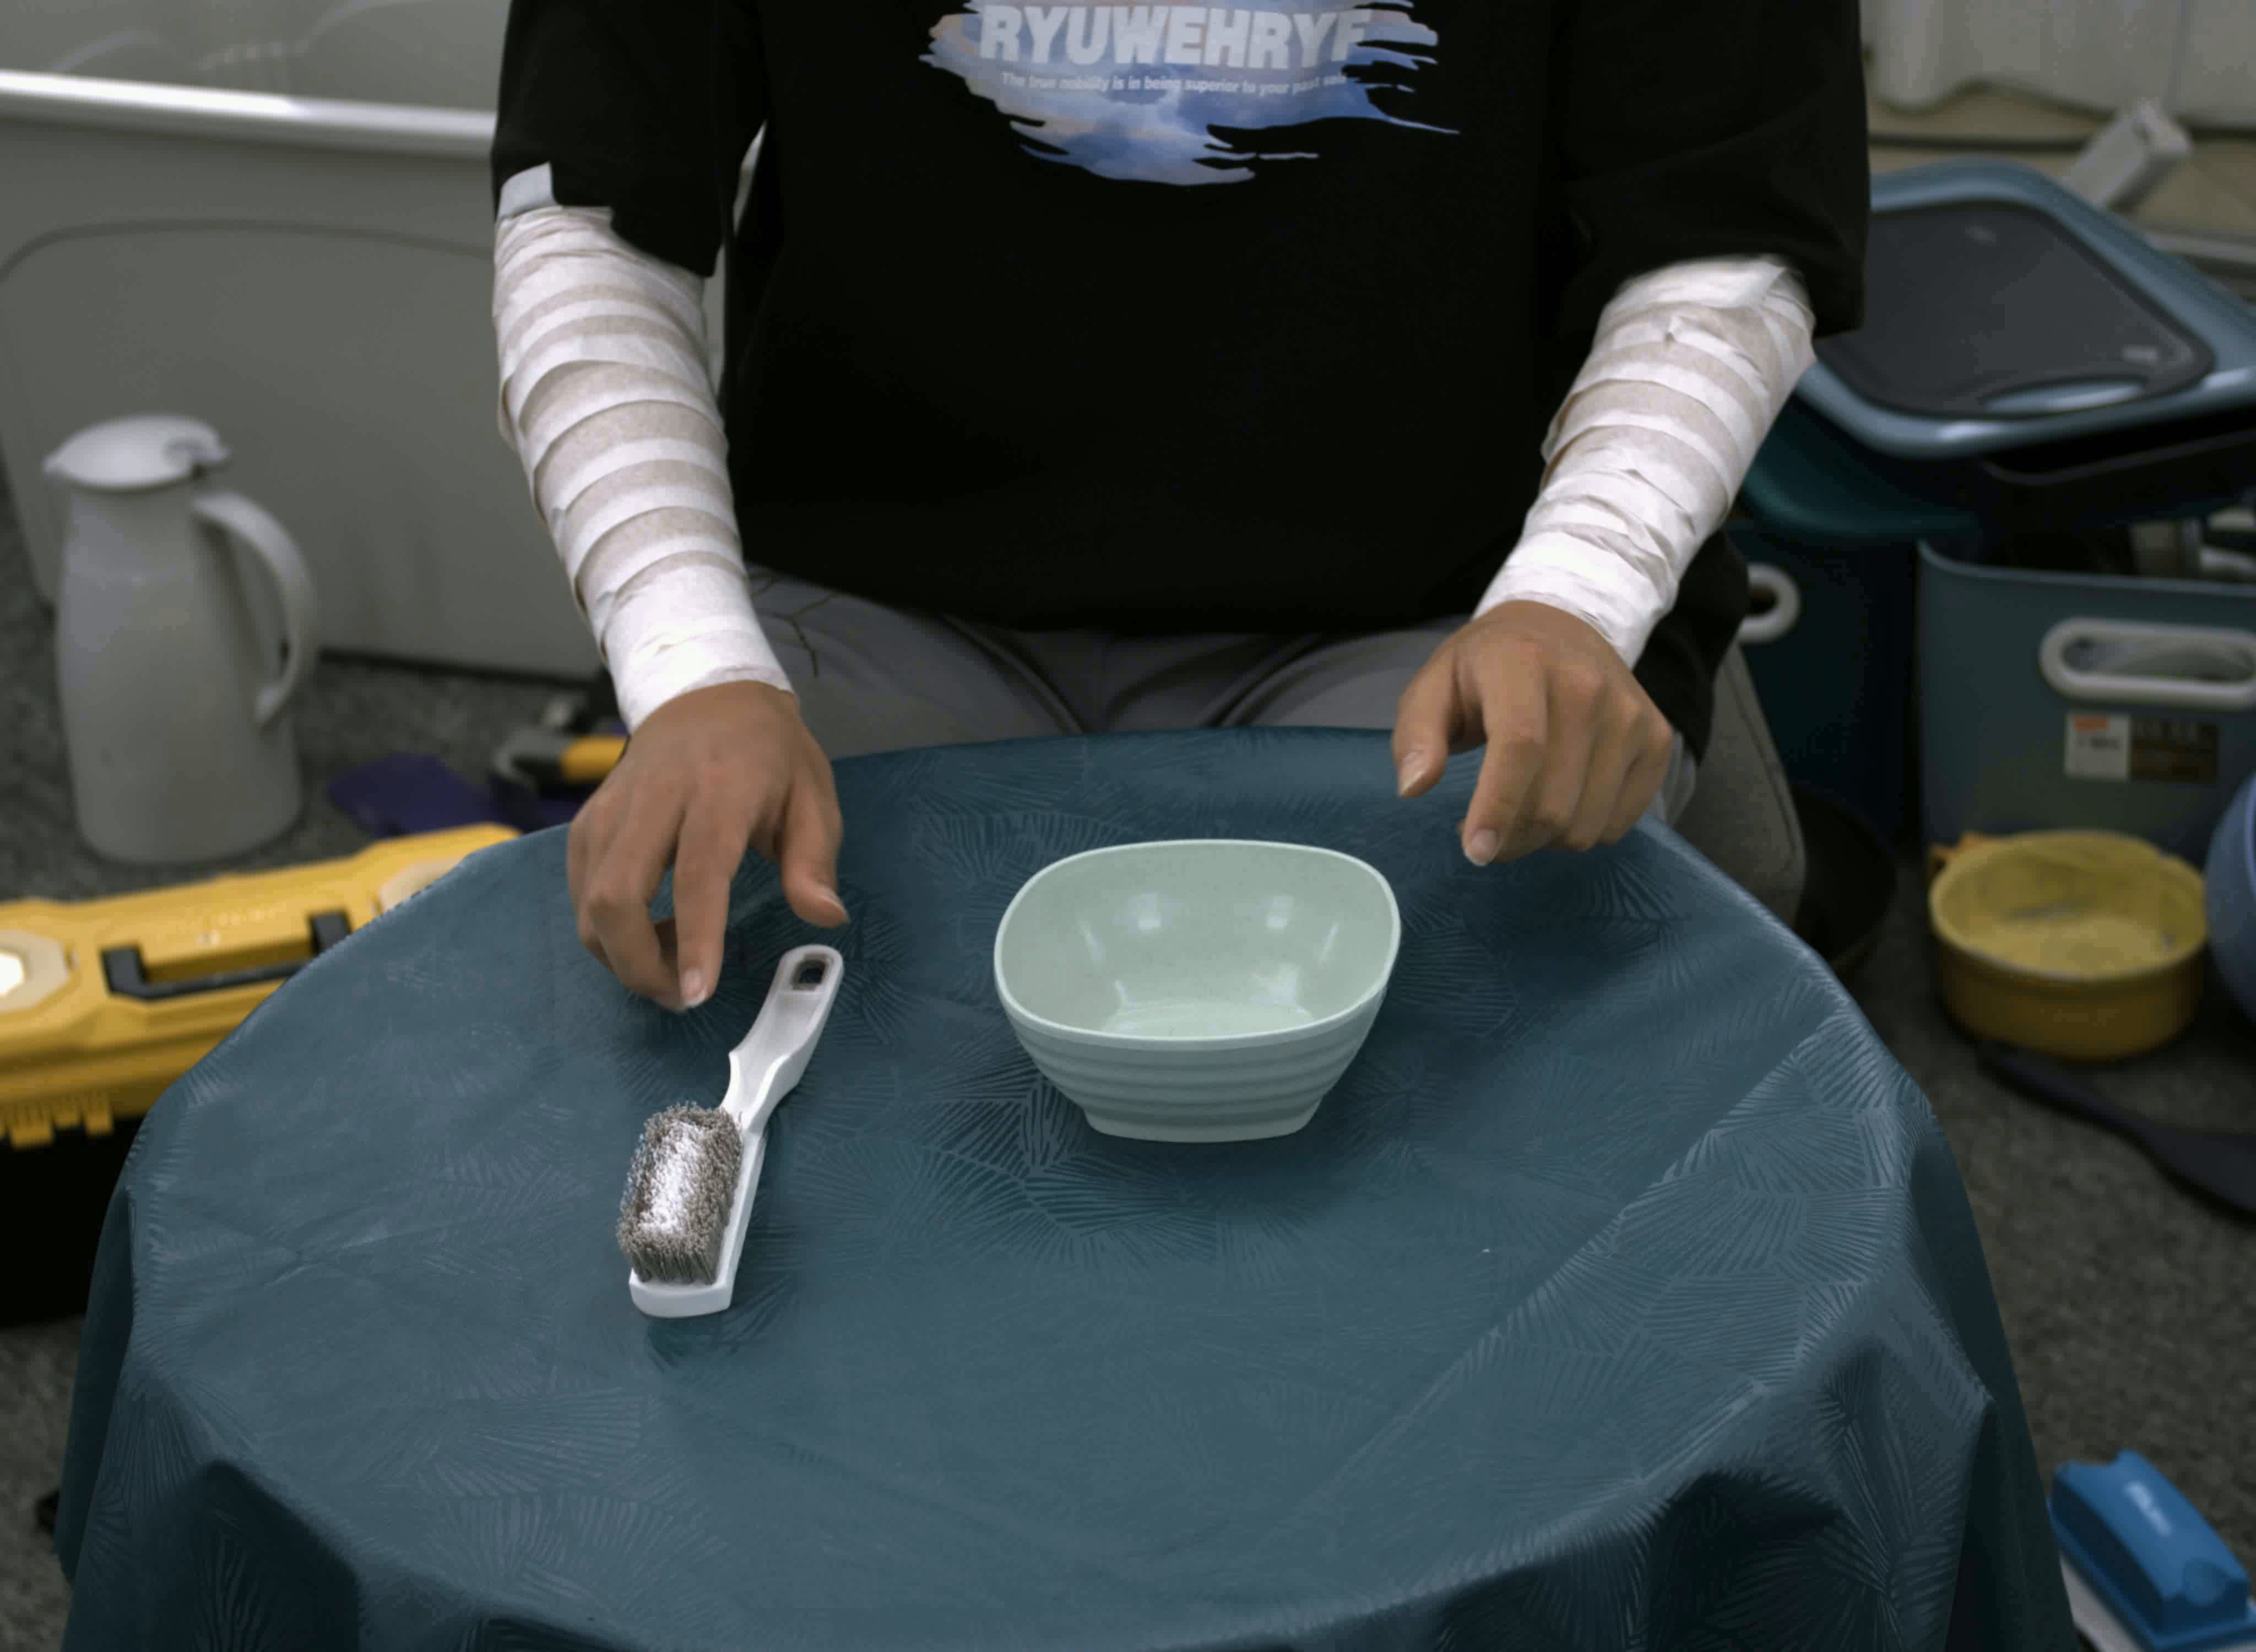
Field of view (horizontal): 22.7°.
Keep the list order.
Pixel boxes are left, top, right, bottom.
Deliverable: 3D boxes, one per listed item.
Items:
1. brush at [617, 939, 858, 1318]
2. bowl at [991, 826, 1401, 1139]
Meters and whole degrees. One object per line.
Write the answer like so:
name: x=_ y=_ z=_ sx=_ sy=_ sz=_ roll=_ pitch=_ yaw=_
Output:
brush: x=-0.128 y=0.085 z=1.891 sx=0.034 sy=0.049 sz=0.248 roll=3 pitch=29 yaw=10
bowl: x=0.023 y=0.060 z=1.913 sx=0.151 sy=0.058 sz=0.154 roll=0 pitch=30 yaw=0
